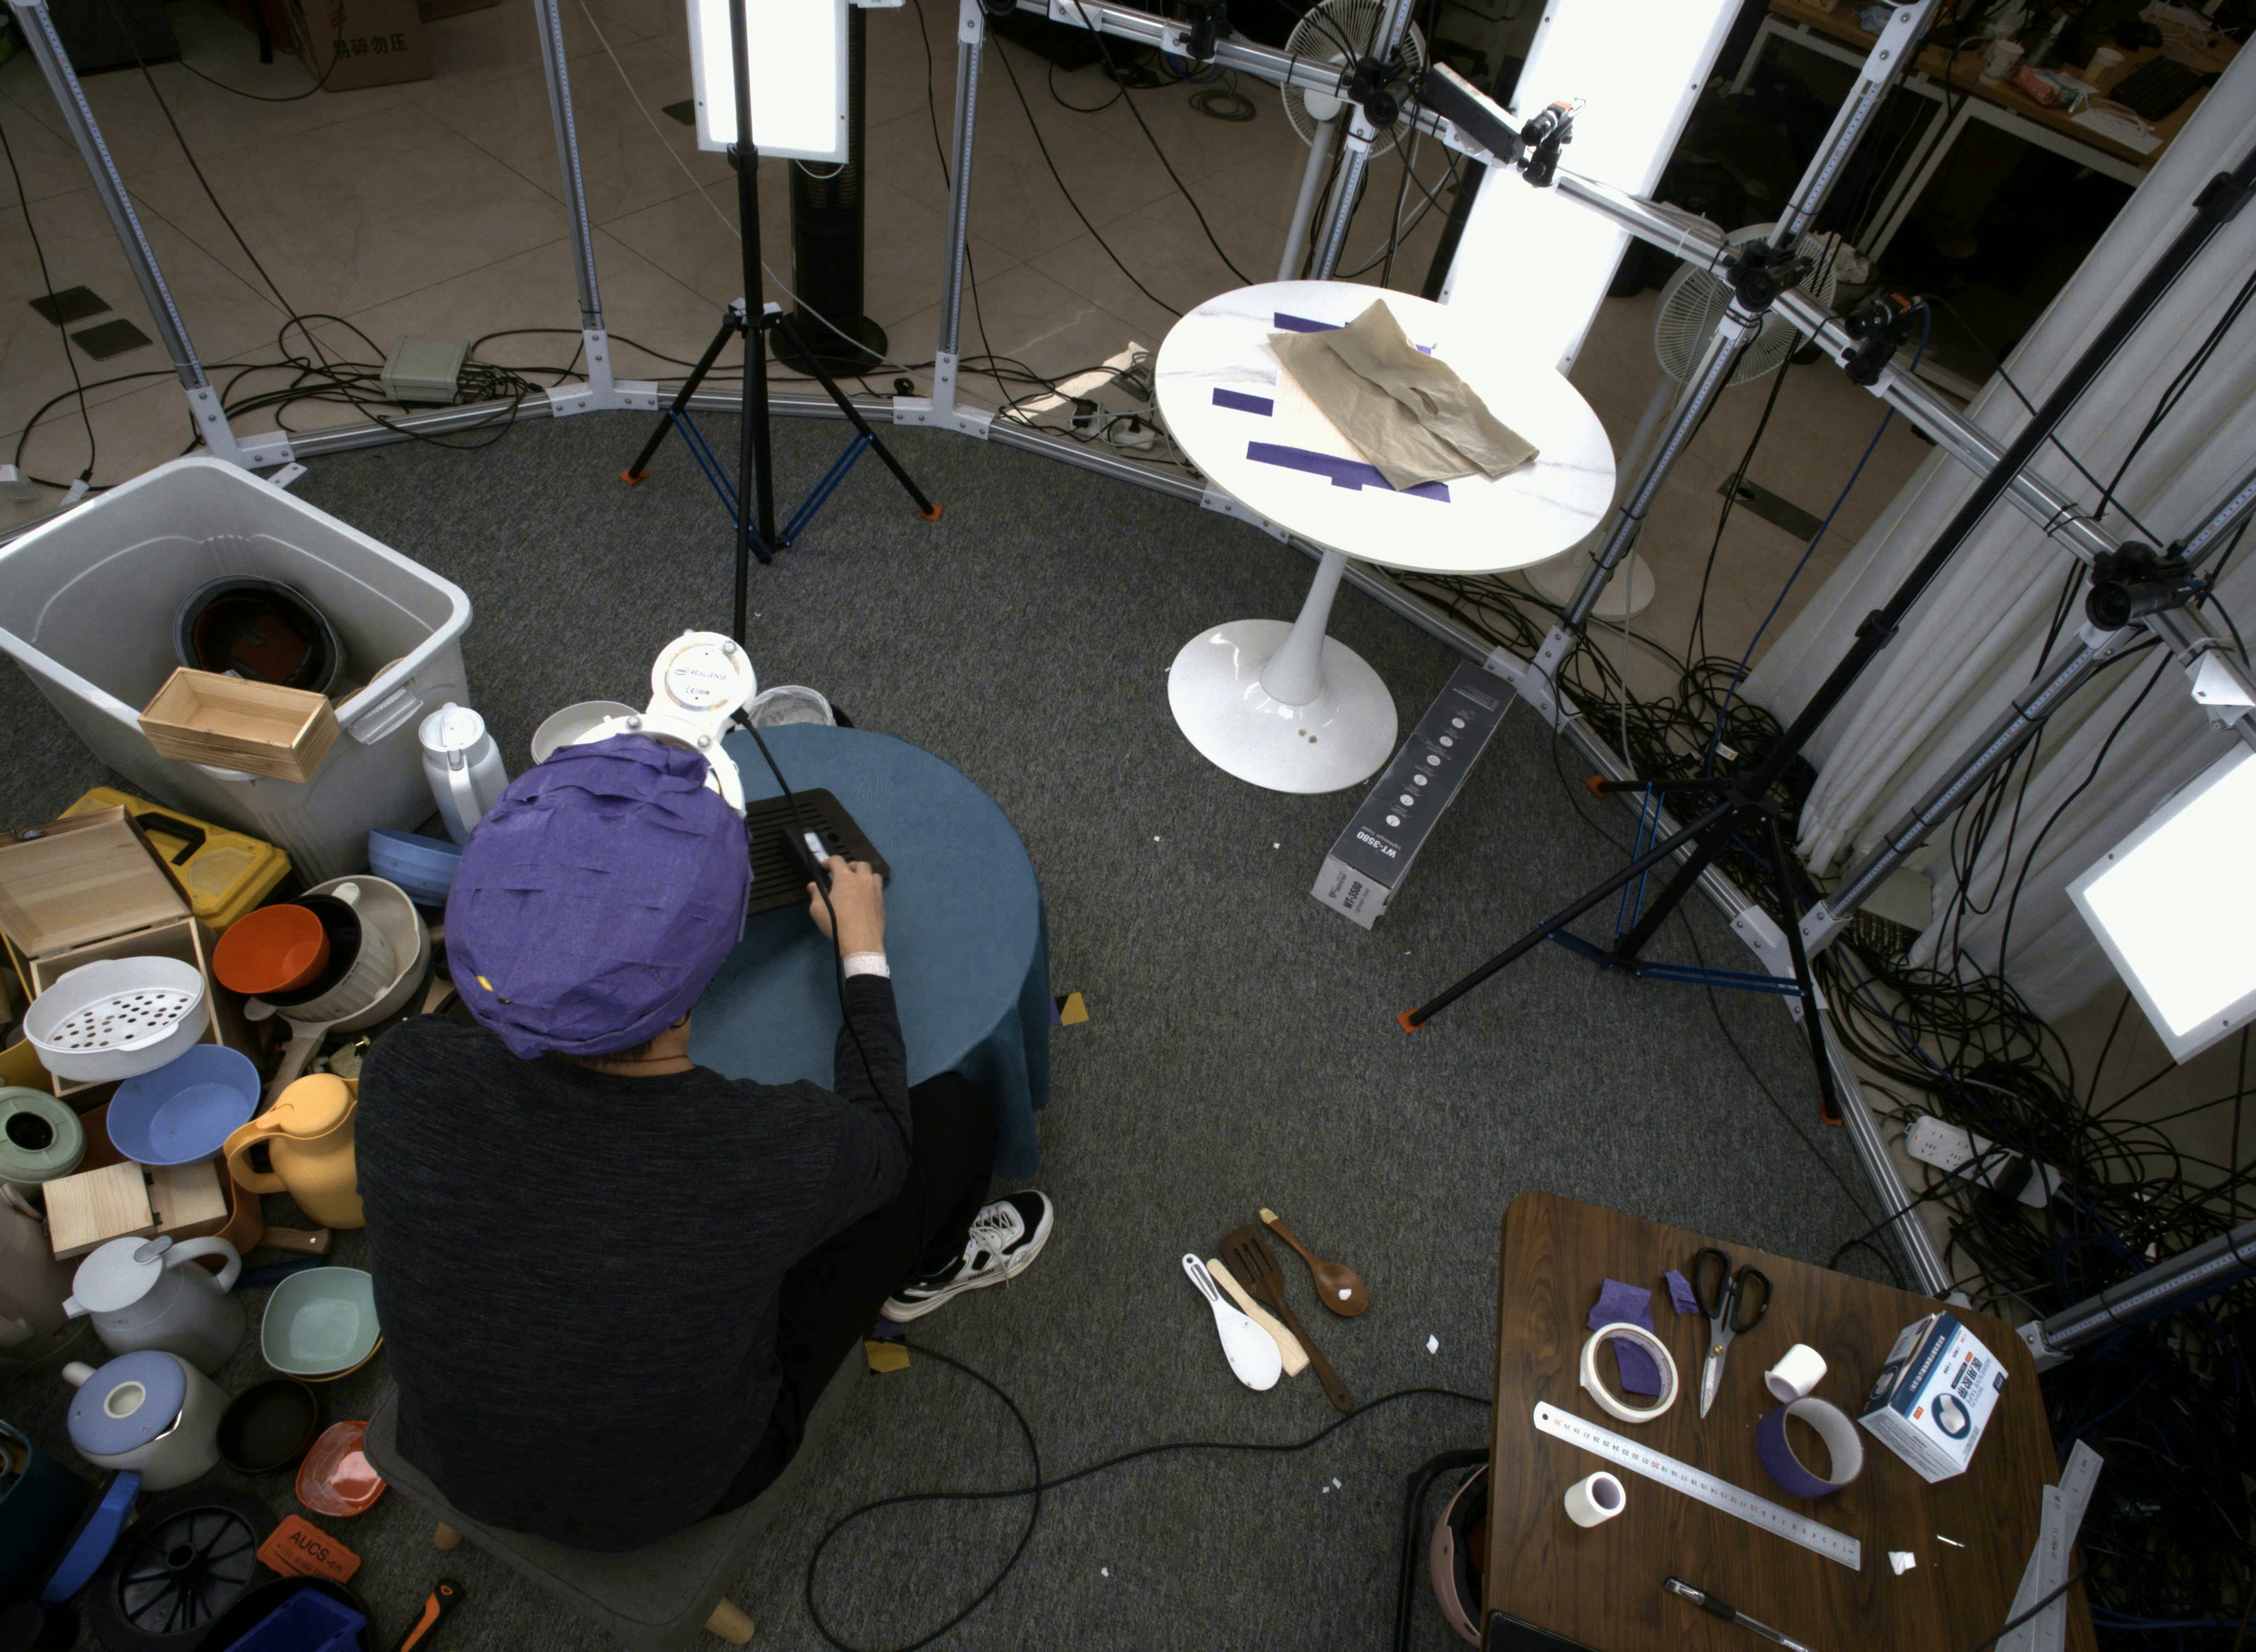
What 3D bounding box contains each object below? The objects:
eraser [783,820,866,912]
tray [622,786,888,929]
[{"bbox_3d":[-0.381,0.048,1.622,0.054,0.031,0.123,-14,59,-45],"label":"eraser"},{"bbox_3d":[-0.460,0.033,1.610,0.310,0.019,0.166,-16,58,-48],"label":"tray"}]
